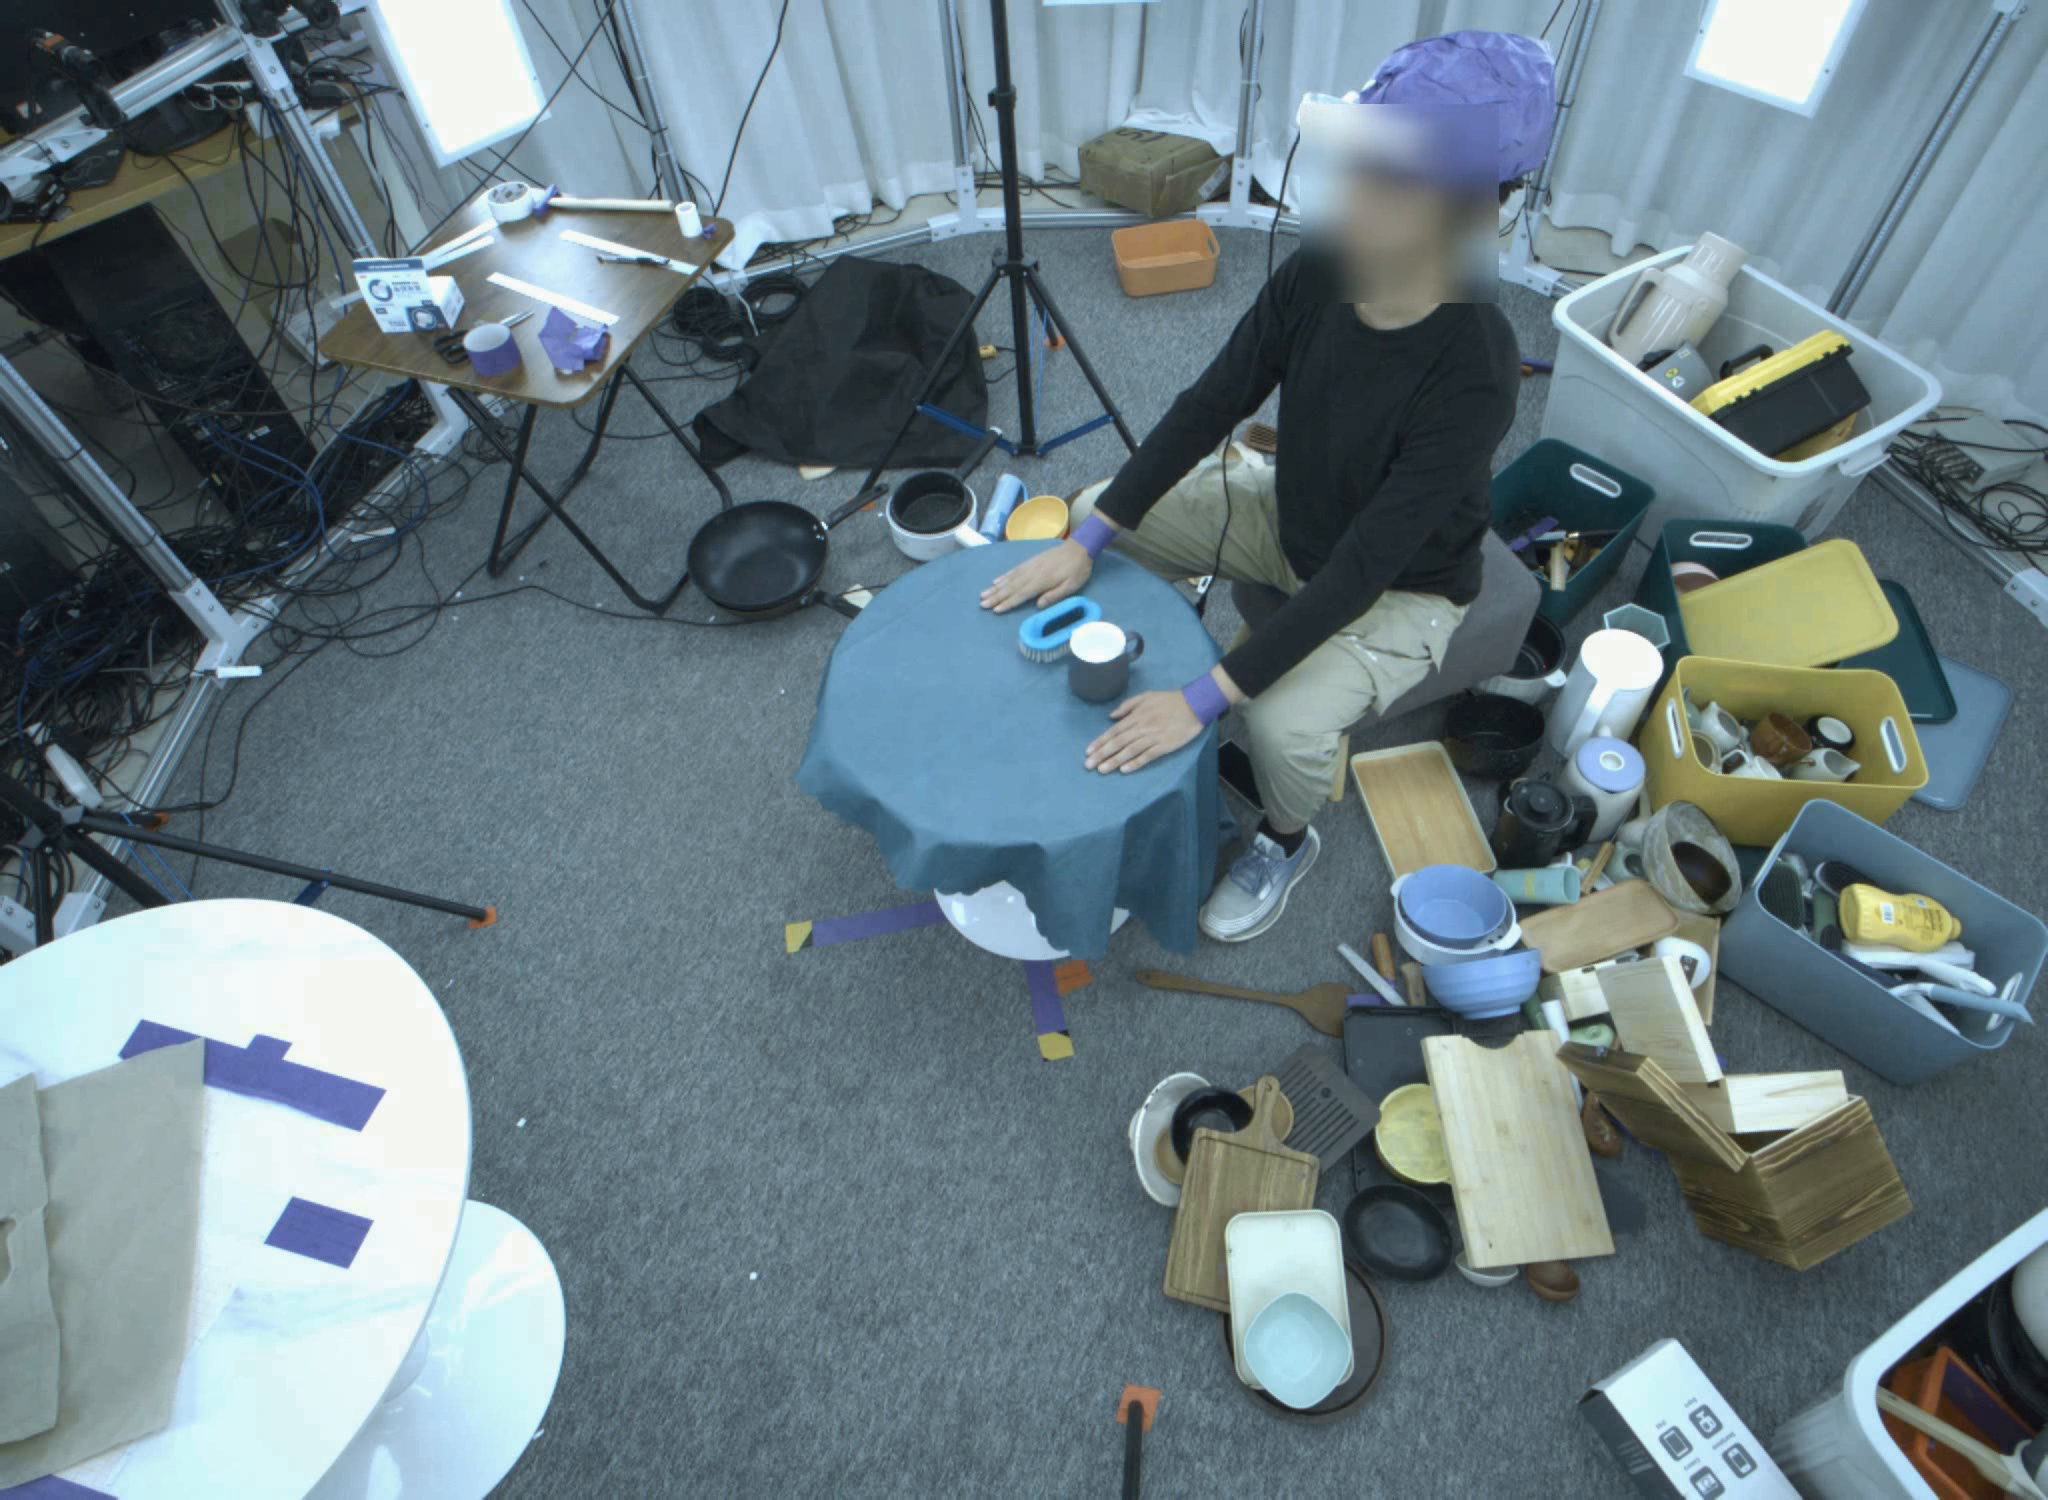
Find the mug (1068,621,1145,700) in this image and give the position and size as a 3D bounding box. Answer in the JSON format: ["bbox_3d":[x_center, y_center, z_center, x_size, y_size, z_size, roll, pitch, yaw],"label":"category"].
[{"bbox_3d":[0.124,-0.138,1.825,0.124,0.091,0.092,-25,58,-12],"label":"mug"}]

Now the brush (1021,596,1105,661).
[{"bbox_3d":[0.057,-0.198,1.888,0.143,0.064,0.082,-27,53,-17],"label":"brush"}]
